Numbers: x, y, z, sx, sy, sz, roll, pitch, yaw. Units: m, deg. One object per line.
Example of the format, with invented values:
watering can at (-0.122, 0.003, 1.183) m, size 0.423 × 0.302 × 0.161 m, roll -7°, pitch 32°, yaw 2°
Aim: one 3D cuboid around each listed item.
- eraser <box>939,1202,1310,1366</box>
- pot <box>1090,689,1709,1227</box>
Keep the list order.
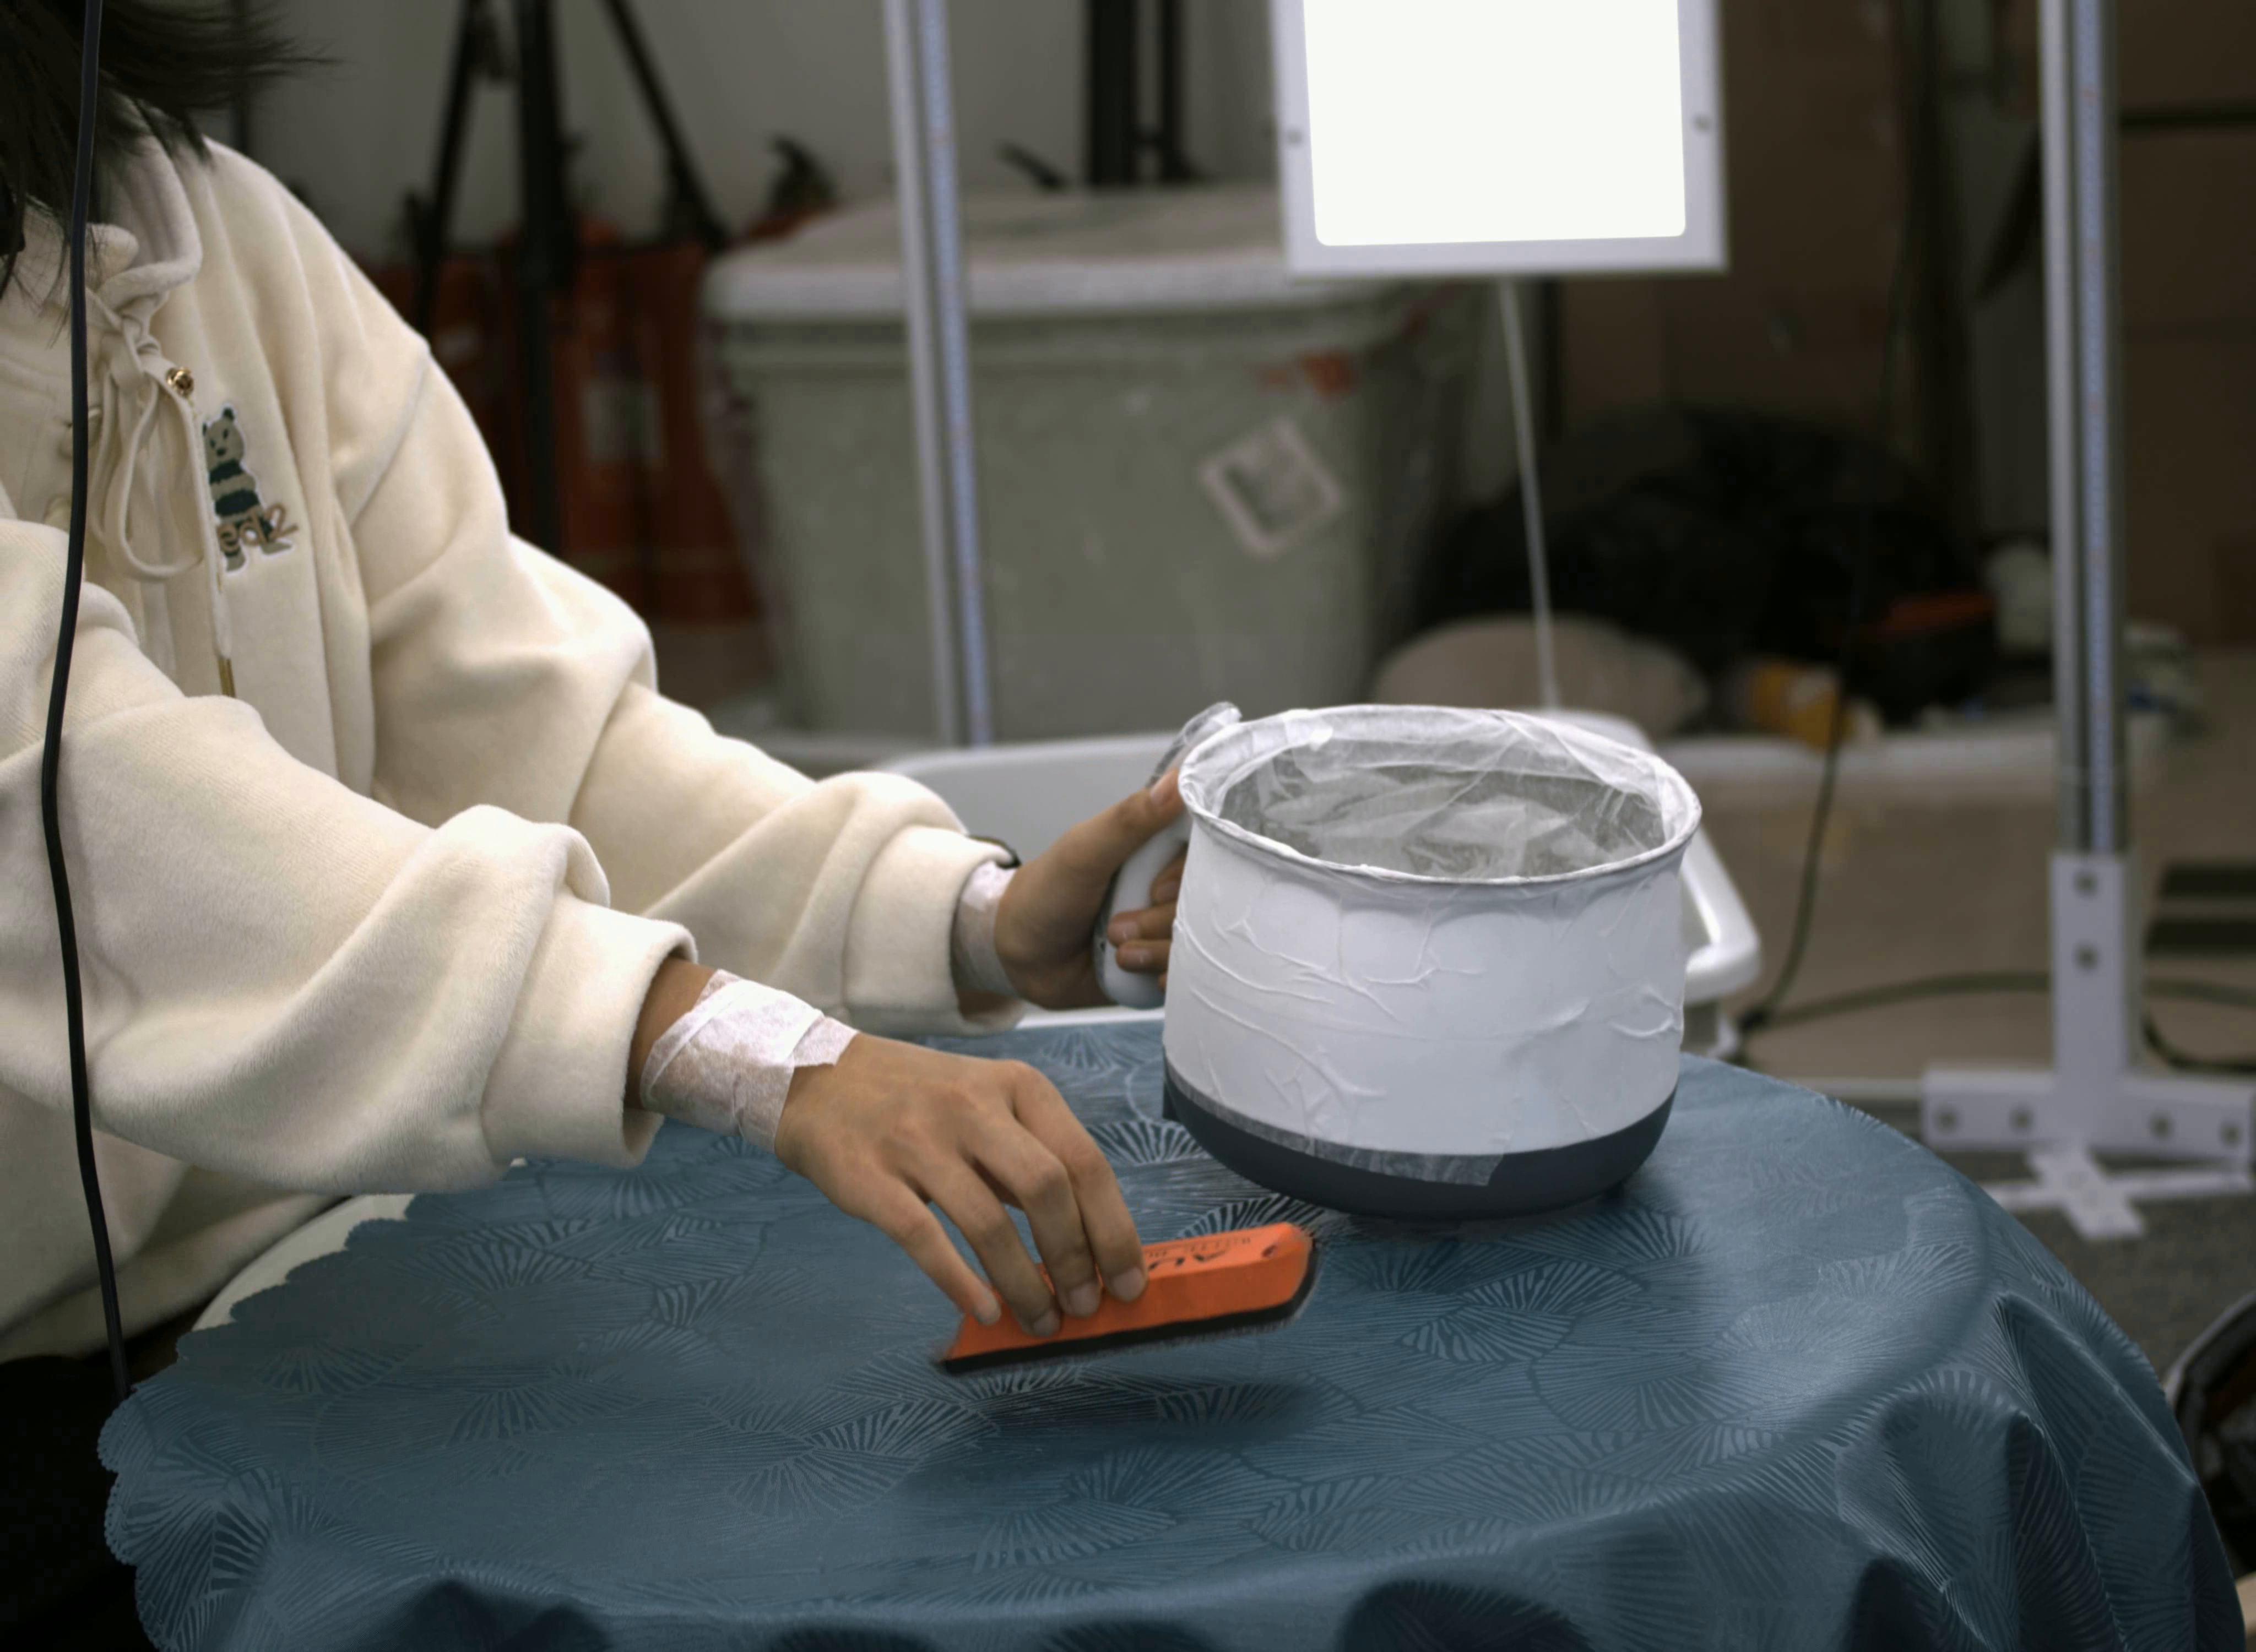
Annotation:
eraser at (0.000, 0.140, 1.685) m, size 0.109 × 0.023 × 0.058 m, roll -12°, pitch 5°, yaw 14°
pot at (0.081, 0.038, 1.881) m, size 0.238 × 0.137 × 0.174 m, roll 21°, pitch 25°, yaw 39°
